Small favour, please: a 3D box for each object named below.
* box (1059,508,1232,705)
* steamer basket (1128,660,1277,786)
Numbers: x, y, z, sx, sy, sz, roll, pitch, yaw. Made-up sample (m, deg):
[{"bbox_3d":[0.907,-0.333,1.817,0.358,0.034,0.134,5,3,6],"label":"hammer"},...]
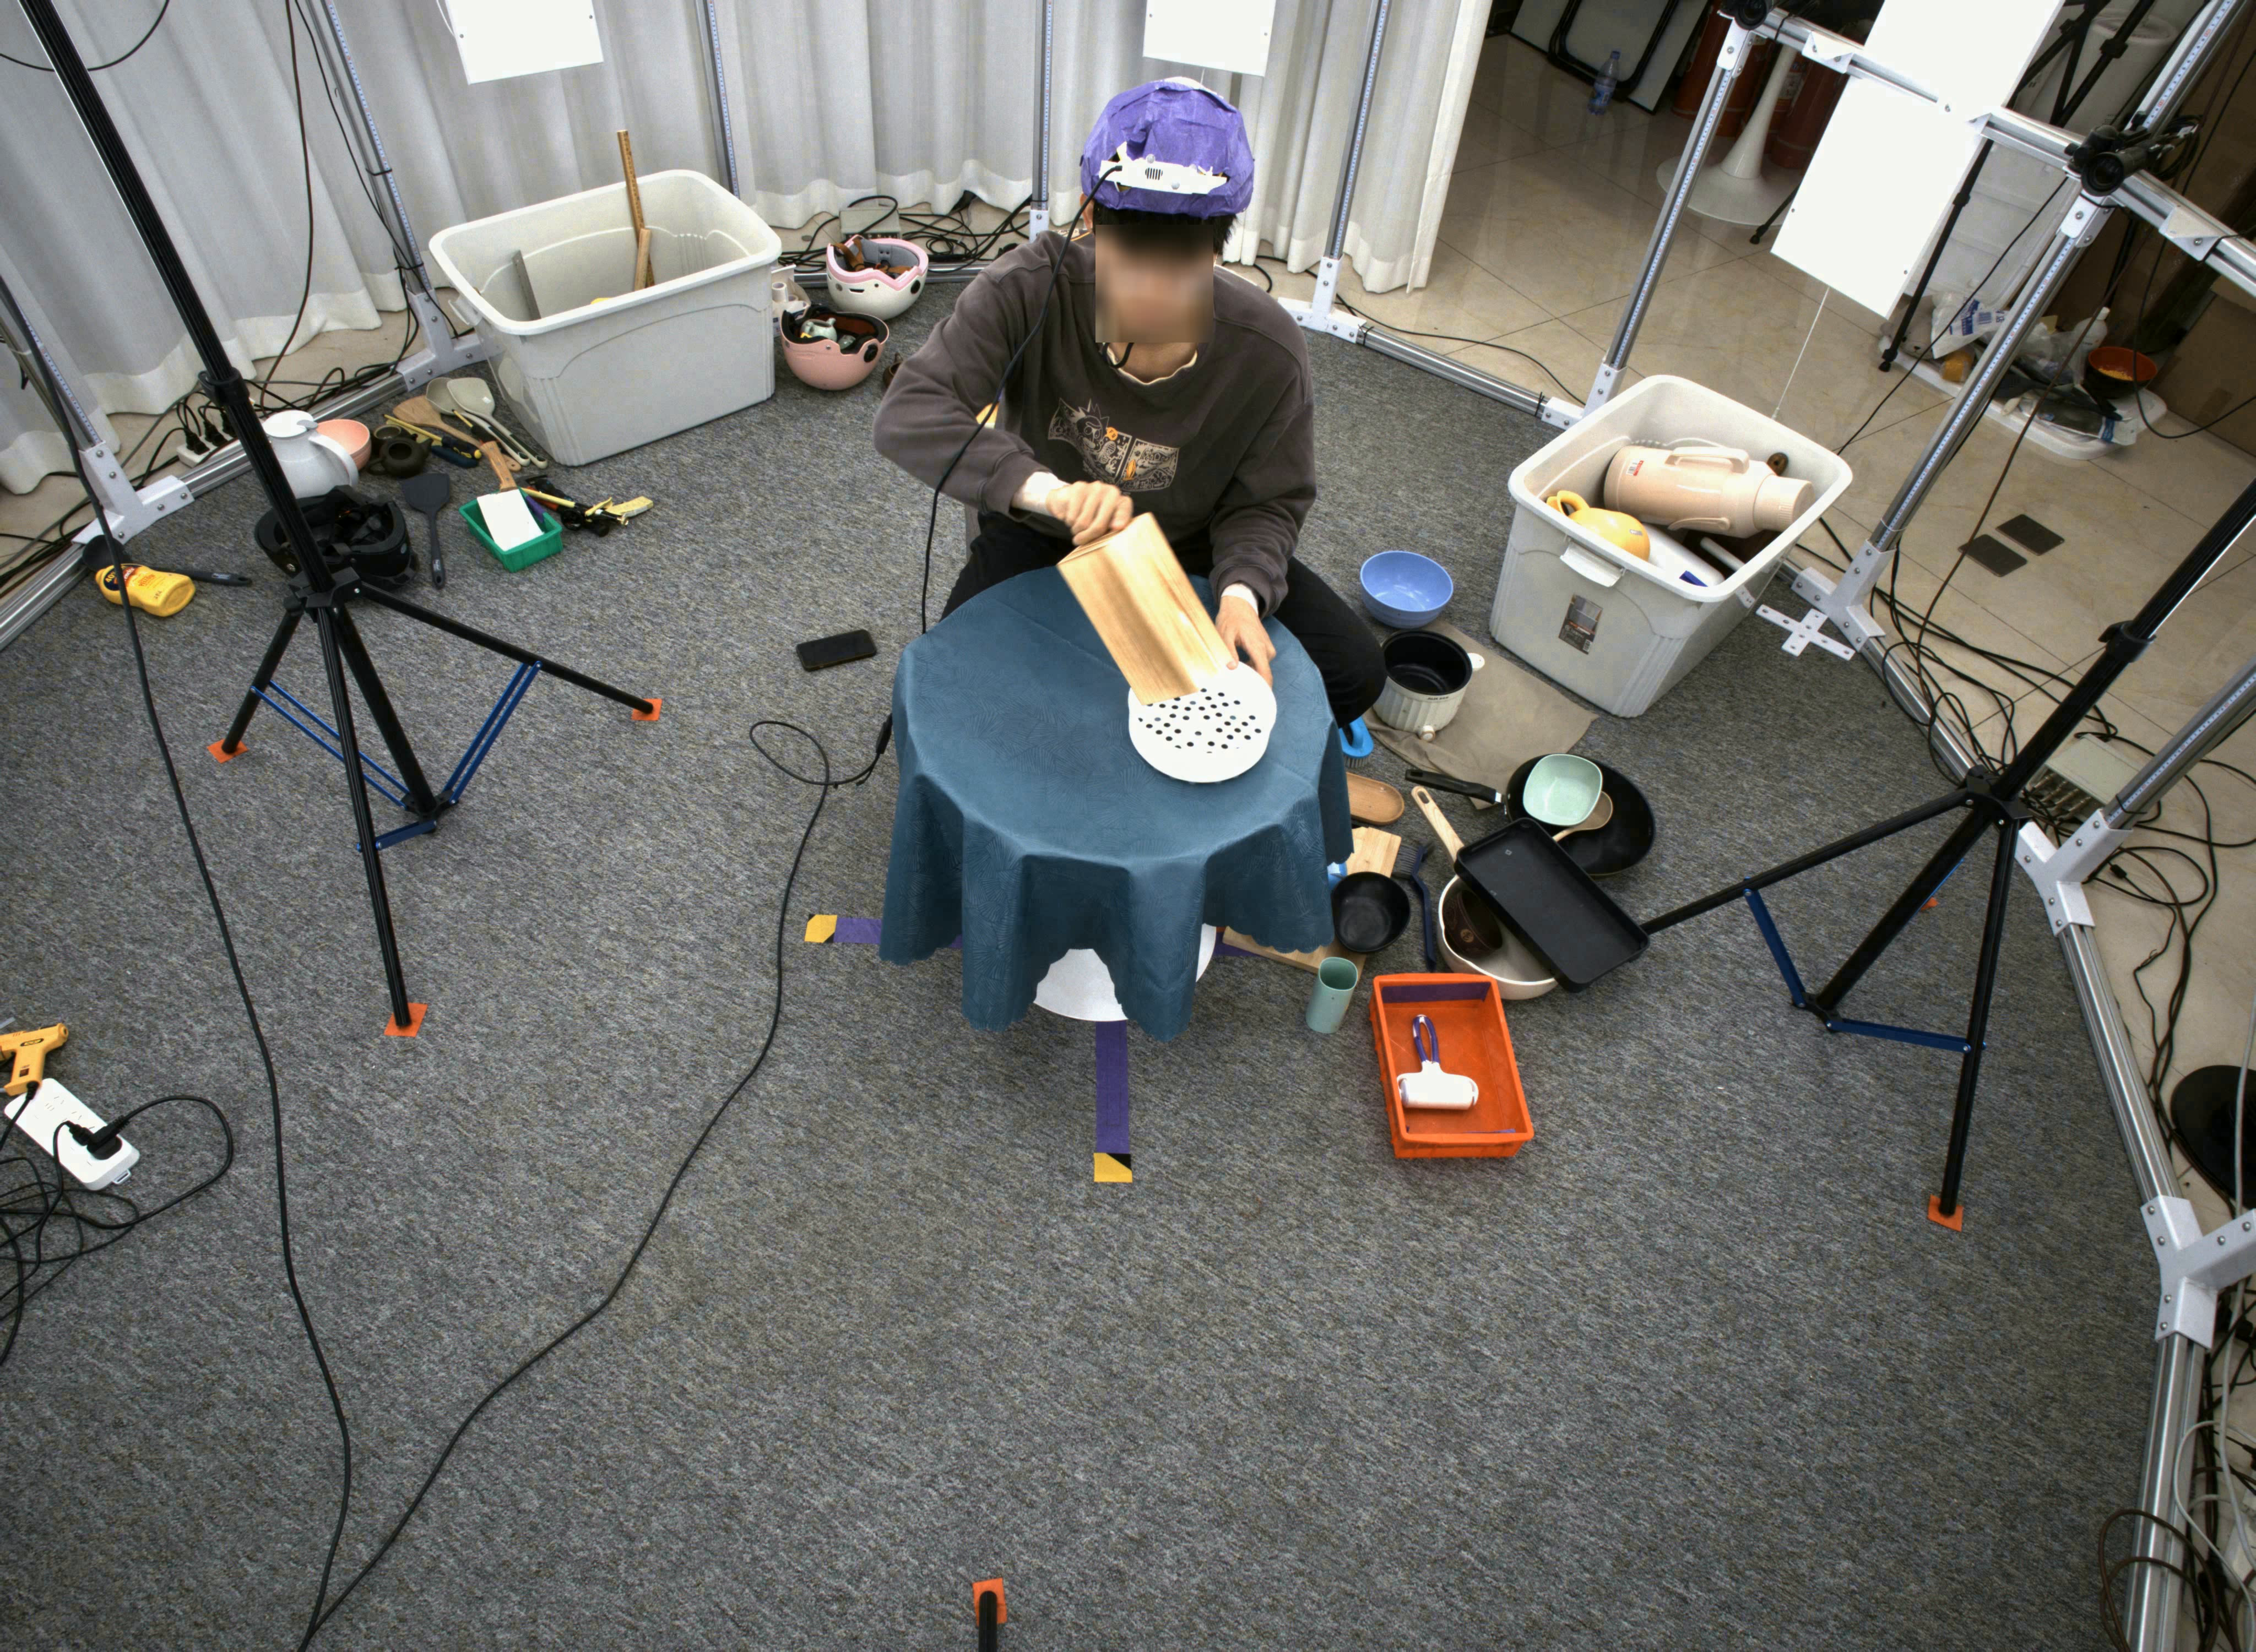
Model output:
[{"bbox_3d":[0.022,-0.266,1.580,0.107,0.209,0.081,-12,25,48],"label":"box"},{"bbox_3d":[0.100,-0.144,1.753,0.201,0.067,0.236,-1,48,-5],"label":"steamer basket"}]
